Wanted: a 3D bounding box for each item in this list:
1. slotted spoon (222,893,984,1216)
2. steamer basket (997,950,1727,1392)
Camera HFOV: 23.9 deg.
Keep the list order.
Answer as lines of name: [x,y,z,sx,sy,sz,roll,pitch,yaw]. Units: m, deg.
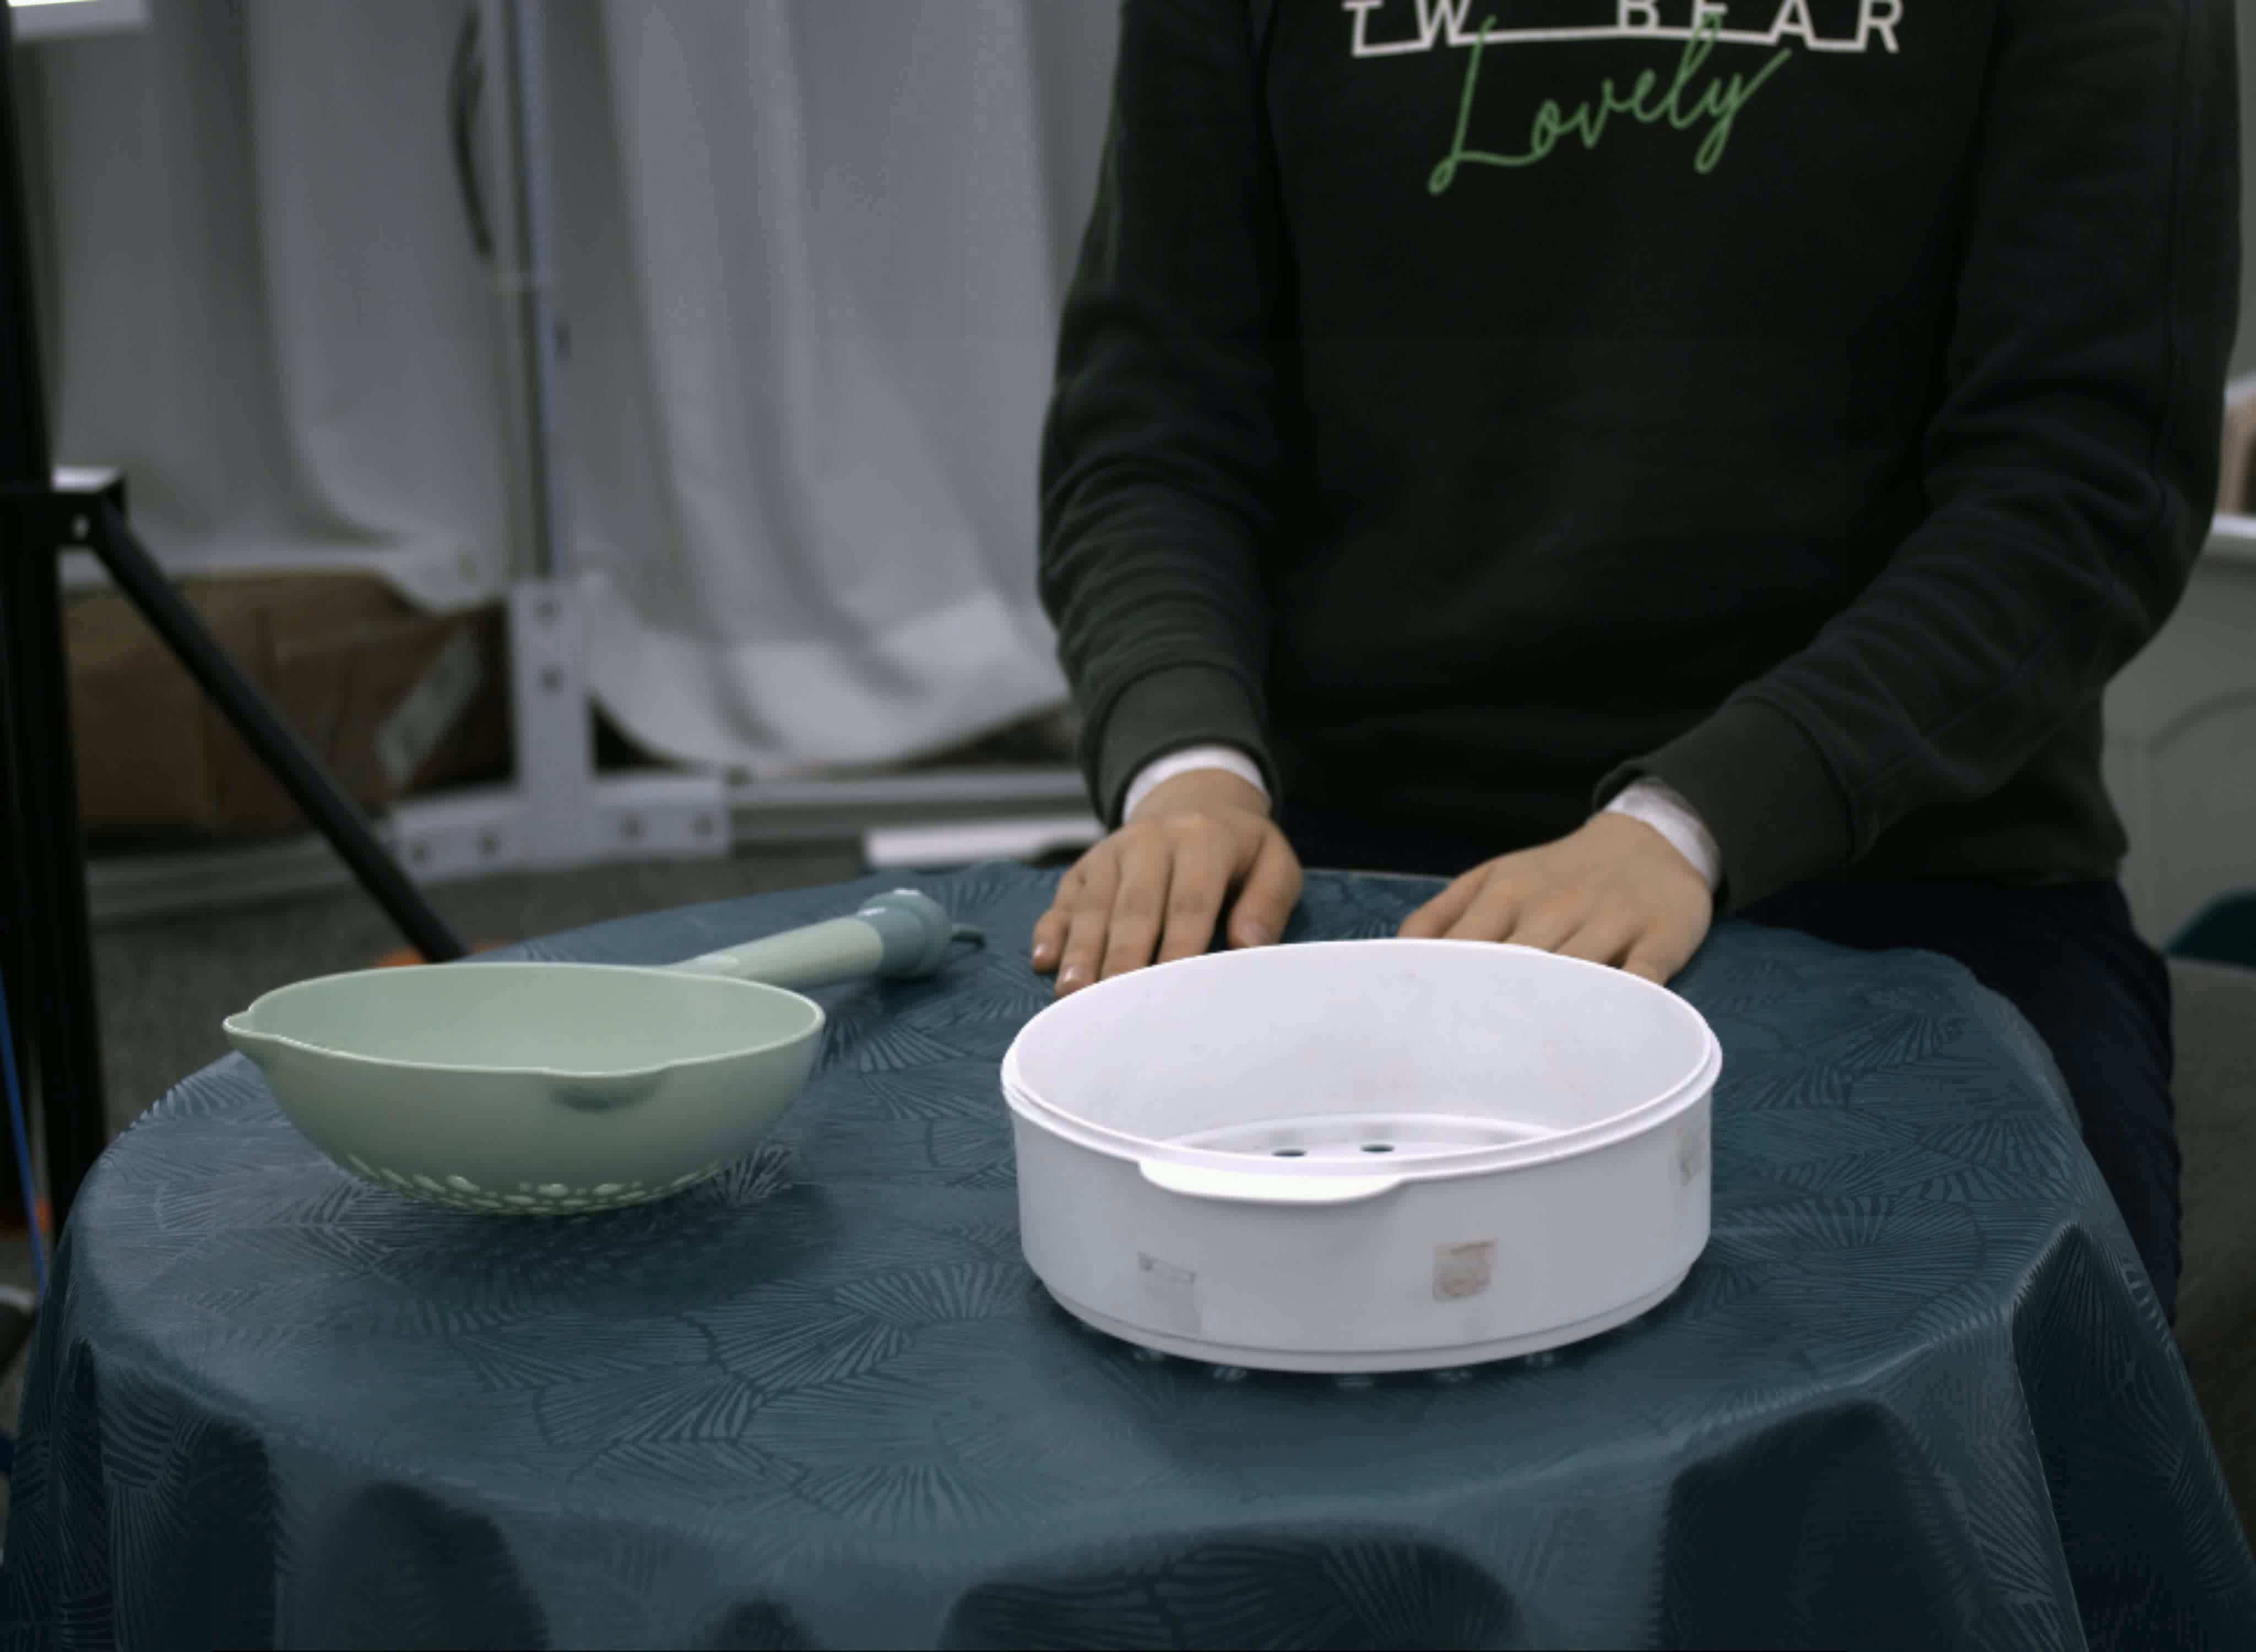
slotted spoon: [-0.132,0.055,1.650,0.172,0.075,0.353,6,18,25]
steamer basket: [0.065,0.095,1.474,0.204,0.069,0.228,3,17,17]
